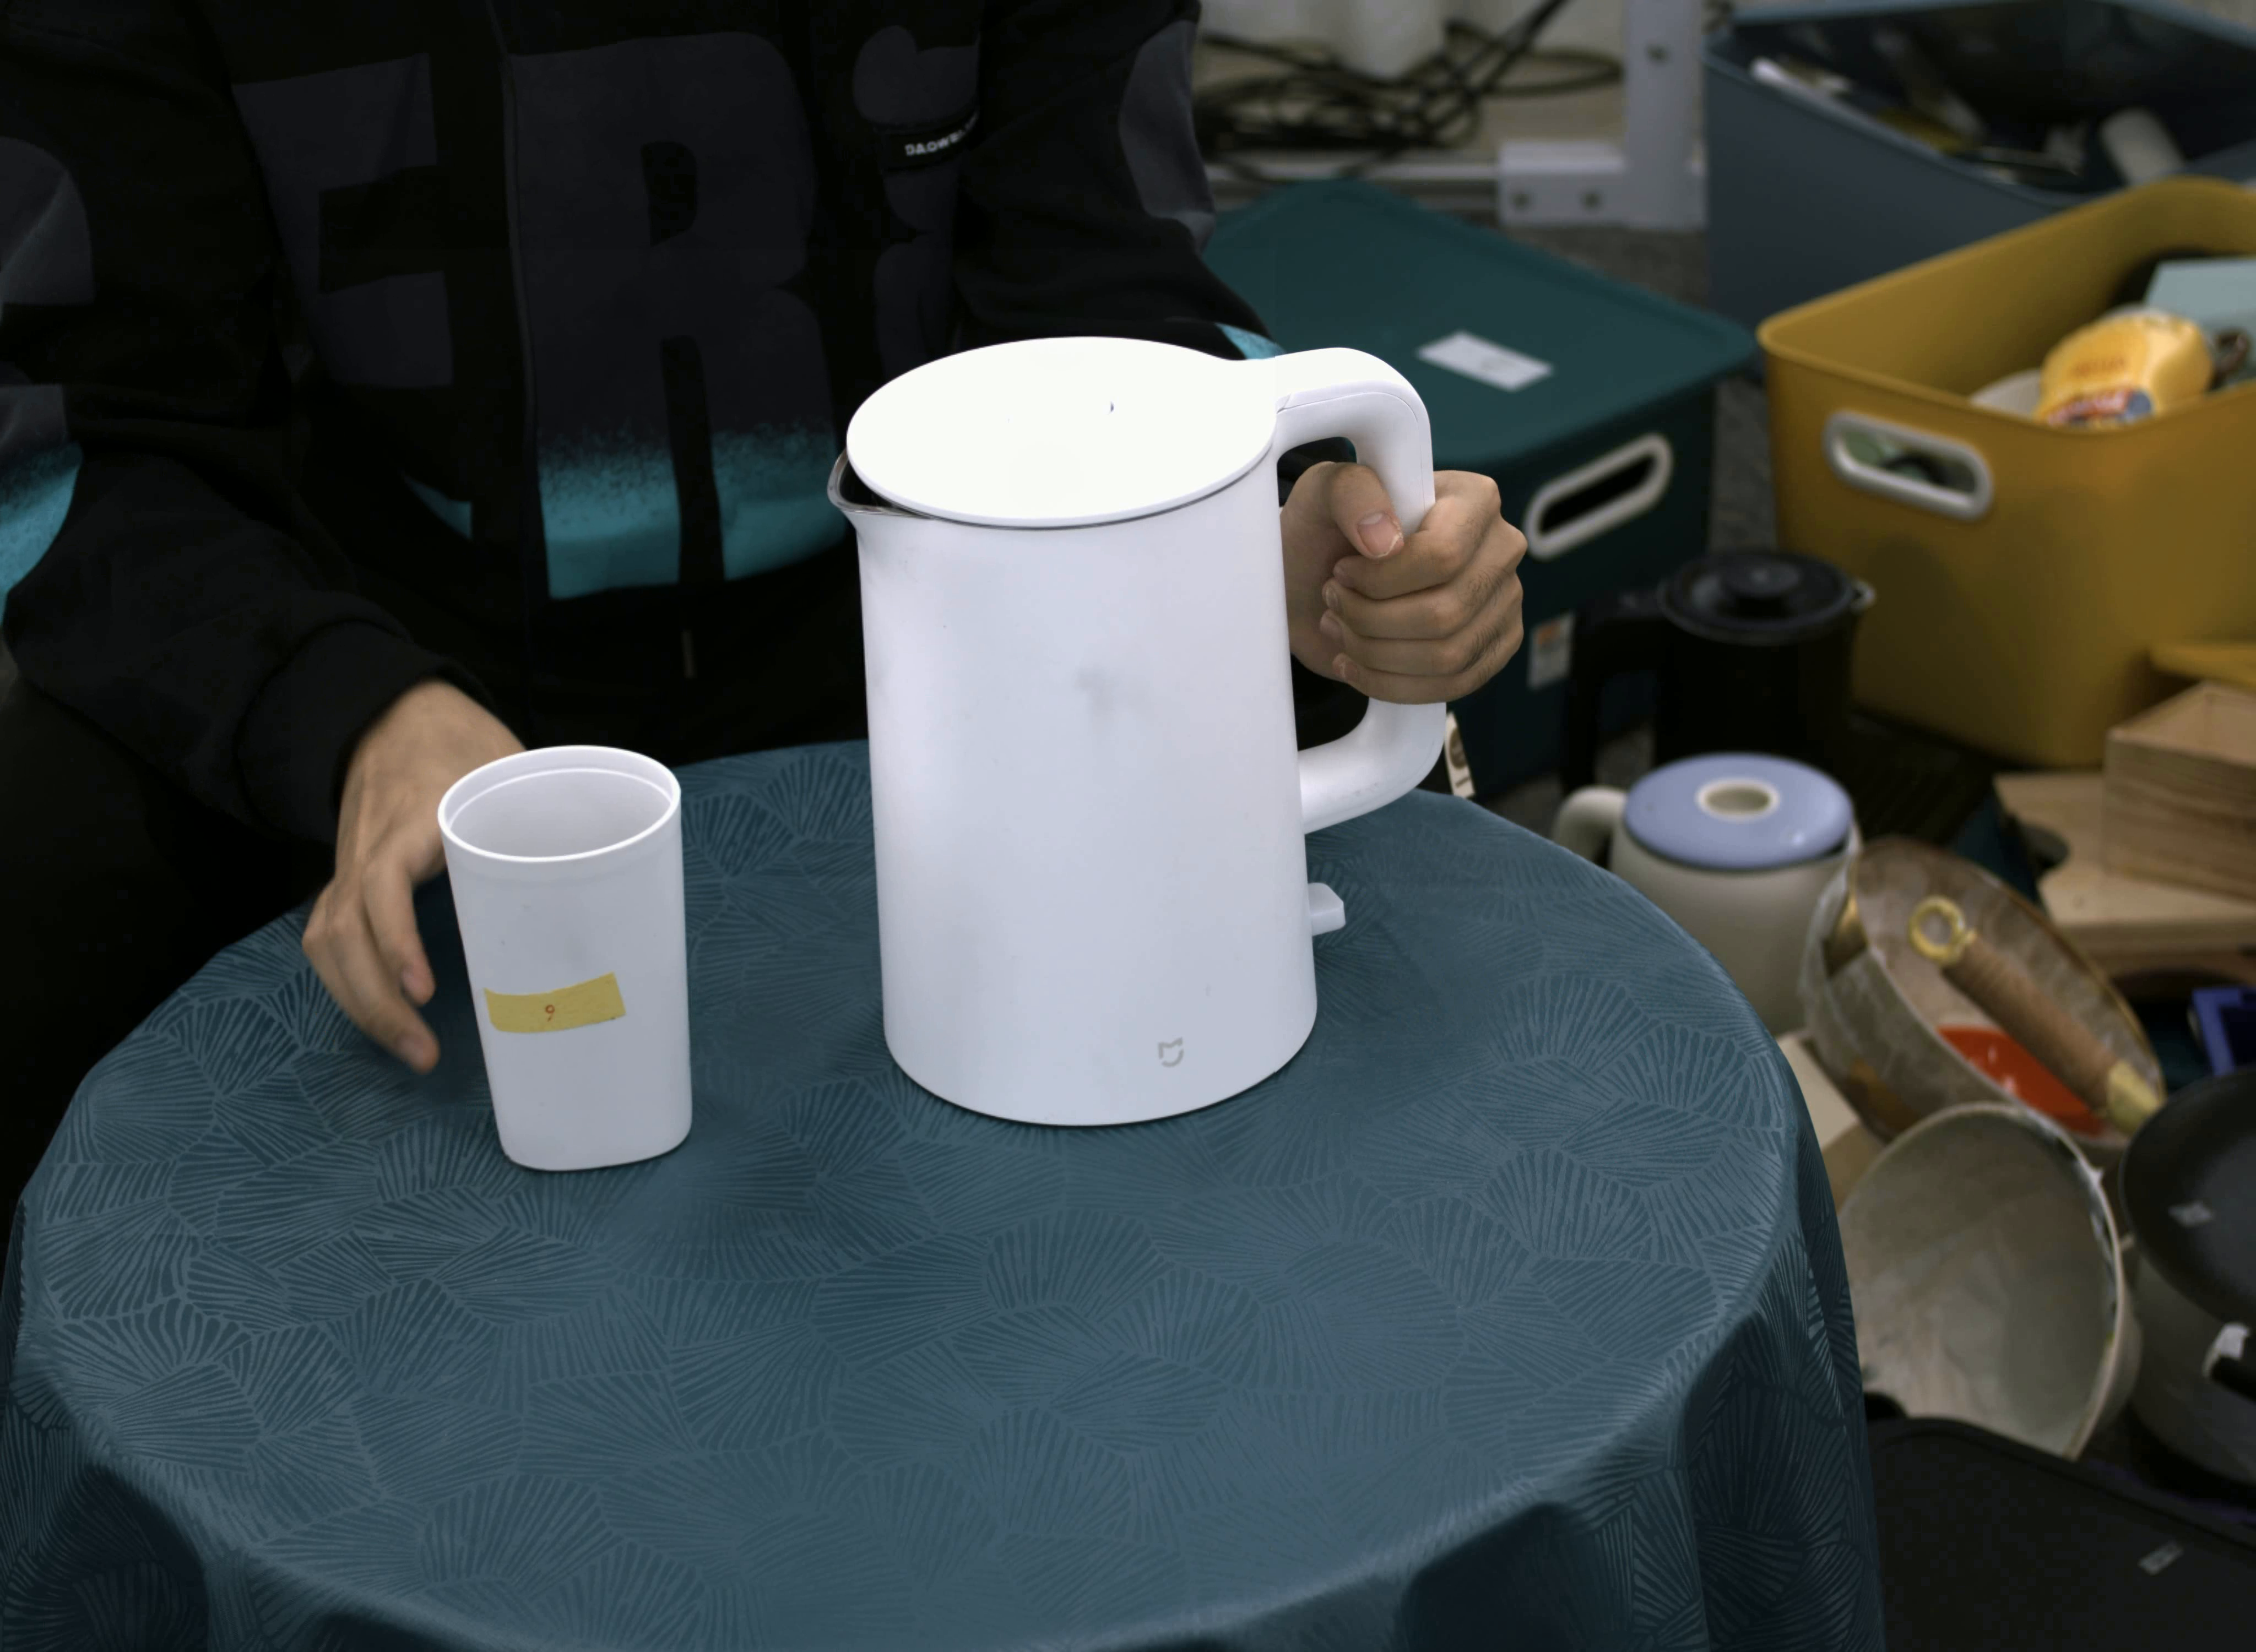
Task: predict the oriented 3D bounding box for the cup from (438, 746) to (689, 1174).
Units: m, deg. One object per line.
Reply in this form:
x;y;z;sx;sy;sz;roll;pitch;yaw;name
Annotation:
-0.185;0.047;1.888;0.081;0.124;0.083;-2;26;1;cup

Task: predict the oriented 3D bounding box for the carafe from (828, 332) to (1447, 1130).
0.009;-0.039;1.920;0.214;0.237;0.153;-14;30;-18;carafe
